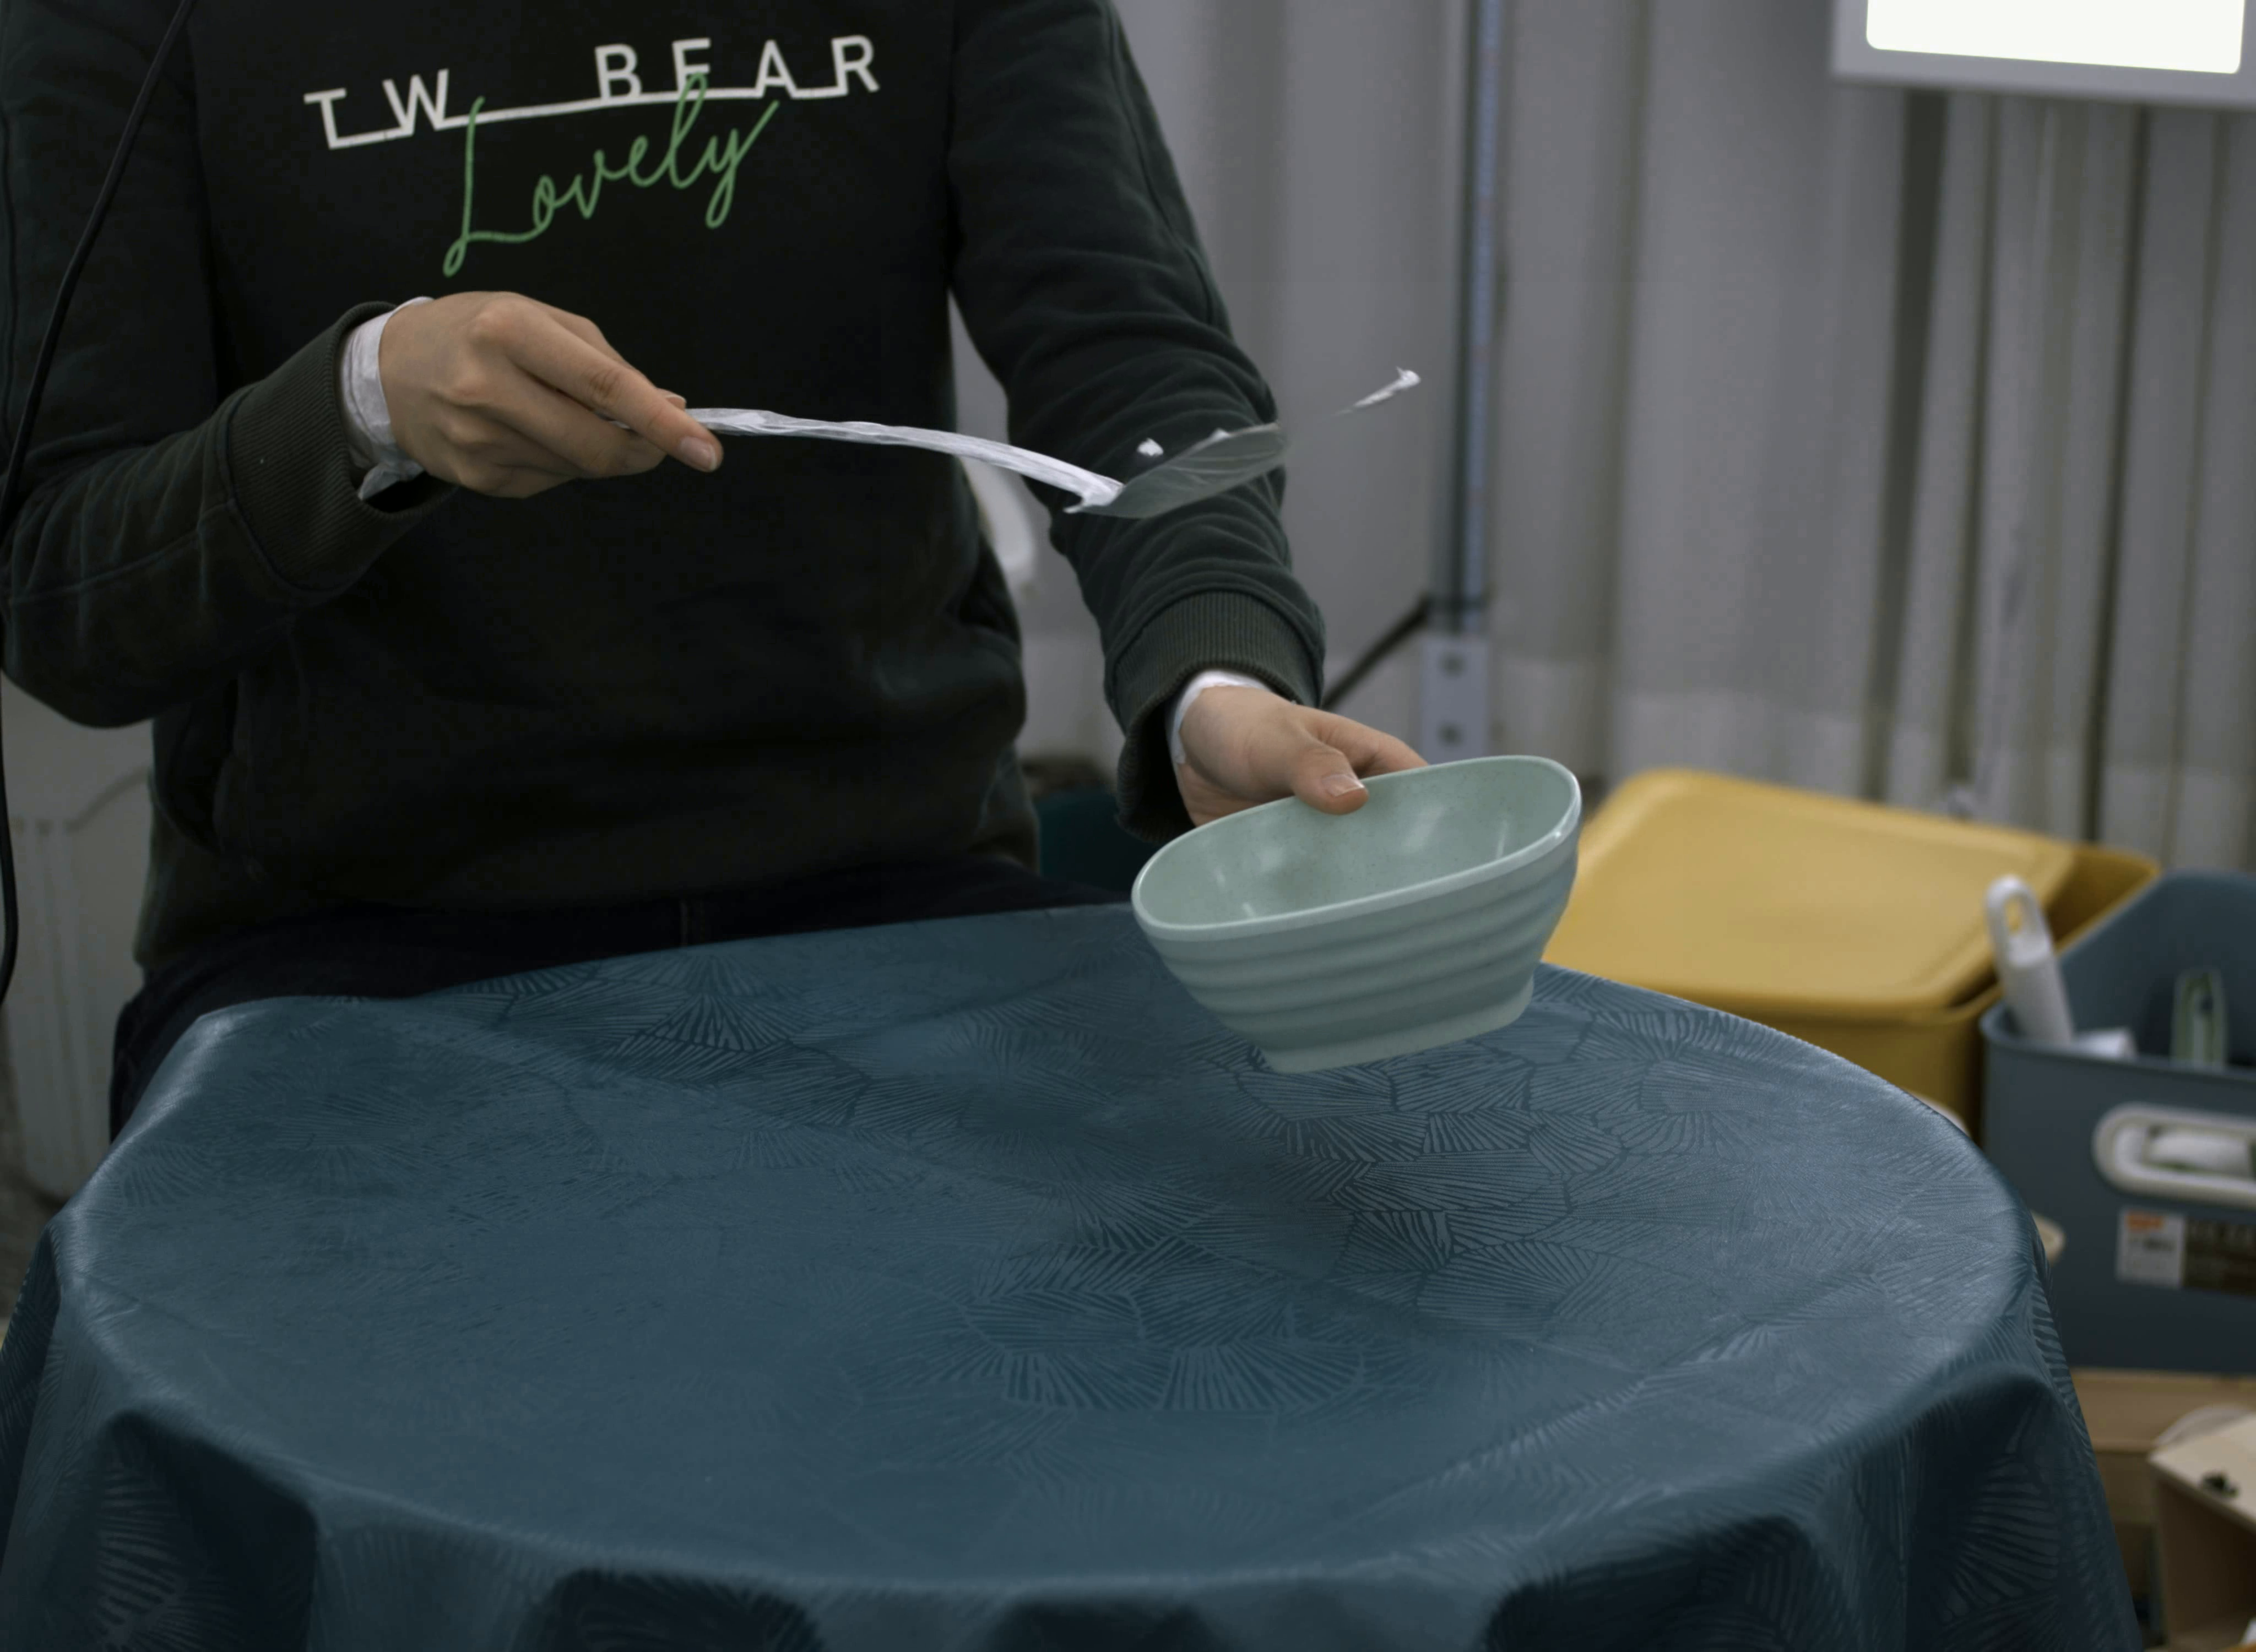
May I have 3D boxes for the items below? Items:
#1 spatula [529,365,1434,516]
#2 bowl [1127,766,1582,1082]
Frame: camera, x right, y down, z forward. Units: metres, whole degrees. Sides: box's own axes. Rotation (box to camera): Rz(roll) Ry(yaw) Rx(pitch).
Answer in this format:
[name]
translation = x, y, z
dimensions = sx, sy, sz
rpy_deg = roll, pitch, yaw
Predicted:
[spatula]
translation = -0.067, -0.127, 1.652
dimensions = 0.360, 0.045, 0.099
rpy_deg = 9, 22, 37
[bowl]
translation = 0.073, 0.033, 1.589
dimensions = 0.151, 0.059, 0.150
rpy_deg = -11, 16, 4
